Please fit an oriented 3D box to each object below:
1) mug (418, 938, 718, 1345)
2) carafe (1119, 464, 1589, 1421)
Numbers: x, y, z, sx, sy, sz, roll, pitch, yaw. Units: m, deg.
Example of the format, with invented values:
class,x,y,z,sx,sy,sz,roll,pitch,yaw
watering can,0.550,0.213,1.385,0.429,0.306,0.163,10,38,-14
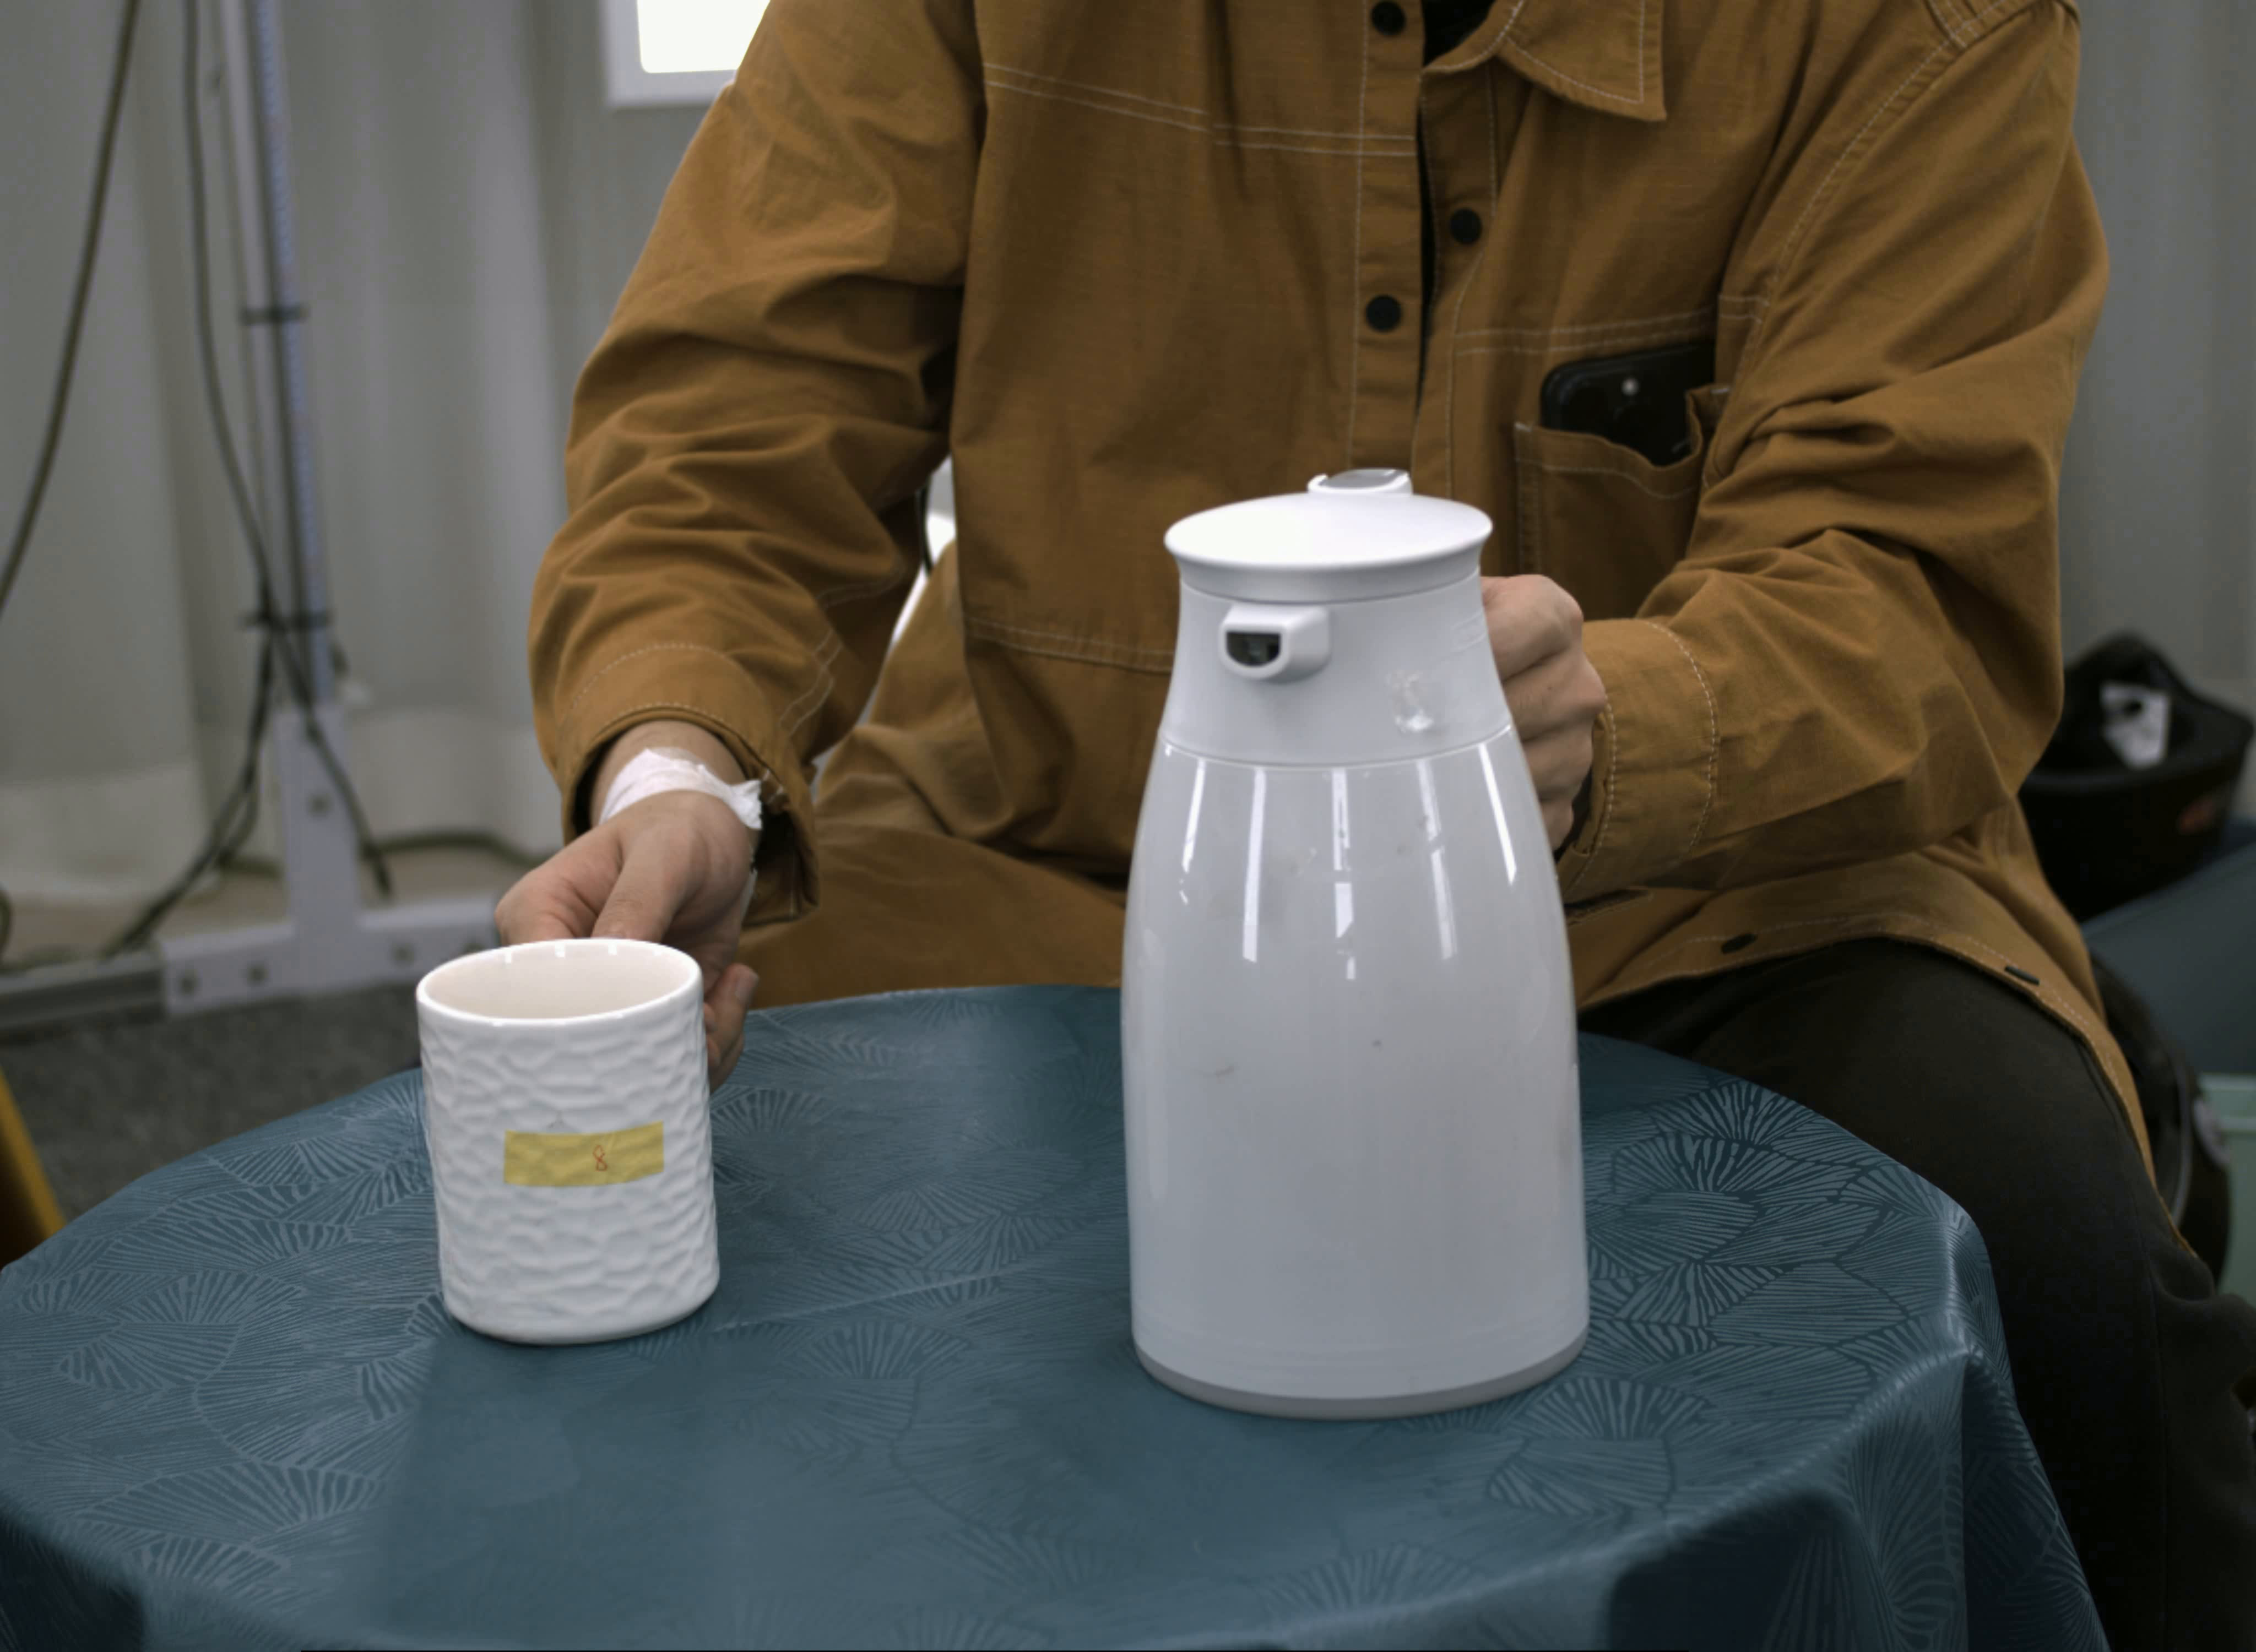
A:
class,x,y,z,sx,sy,sz,roll,pitch,yaw
mug,-0.163,0.090,1.643,0.085,0.101,0.119,0,14,9
carafe,0.066,0.024,1.564,0.132,0.248,0.168,2,14,20
